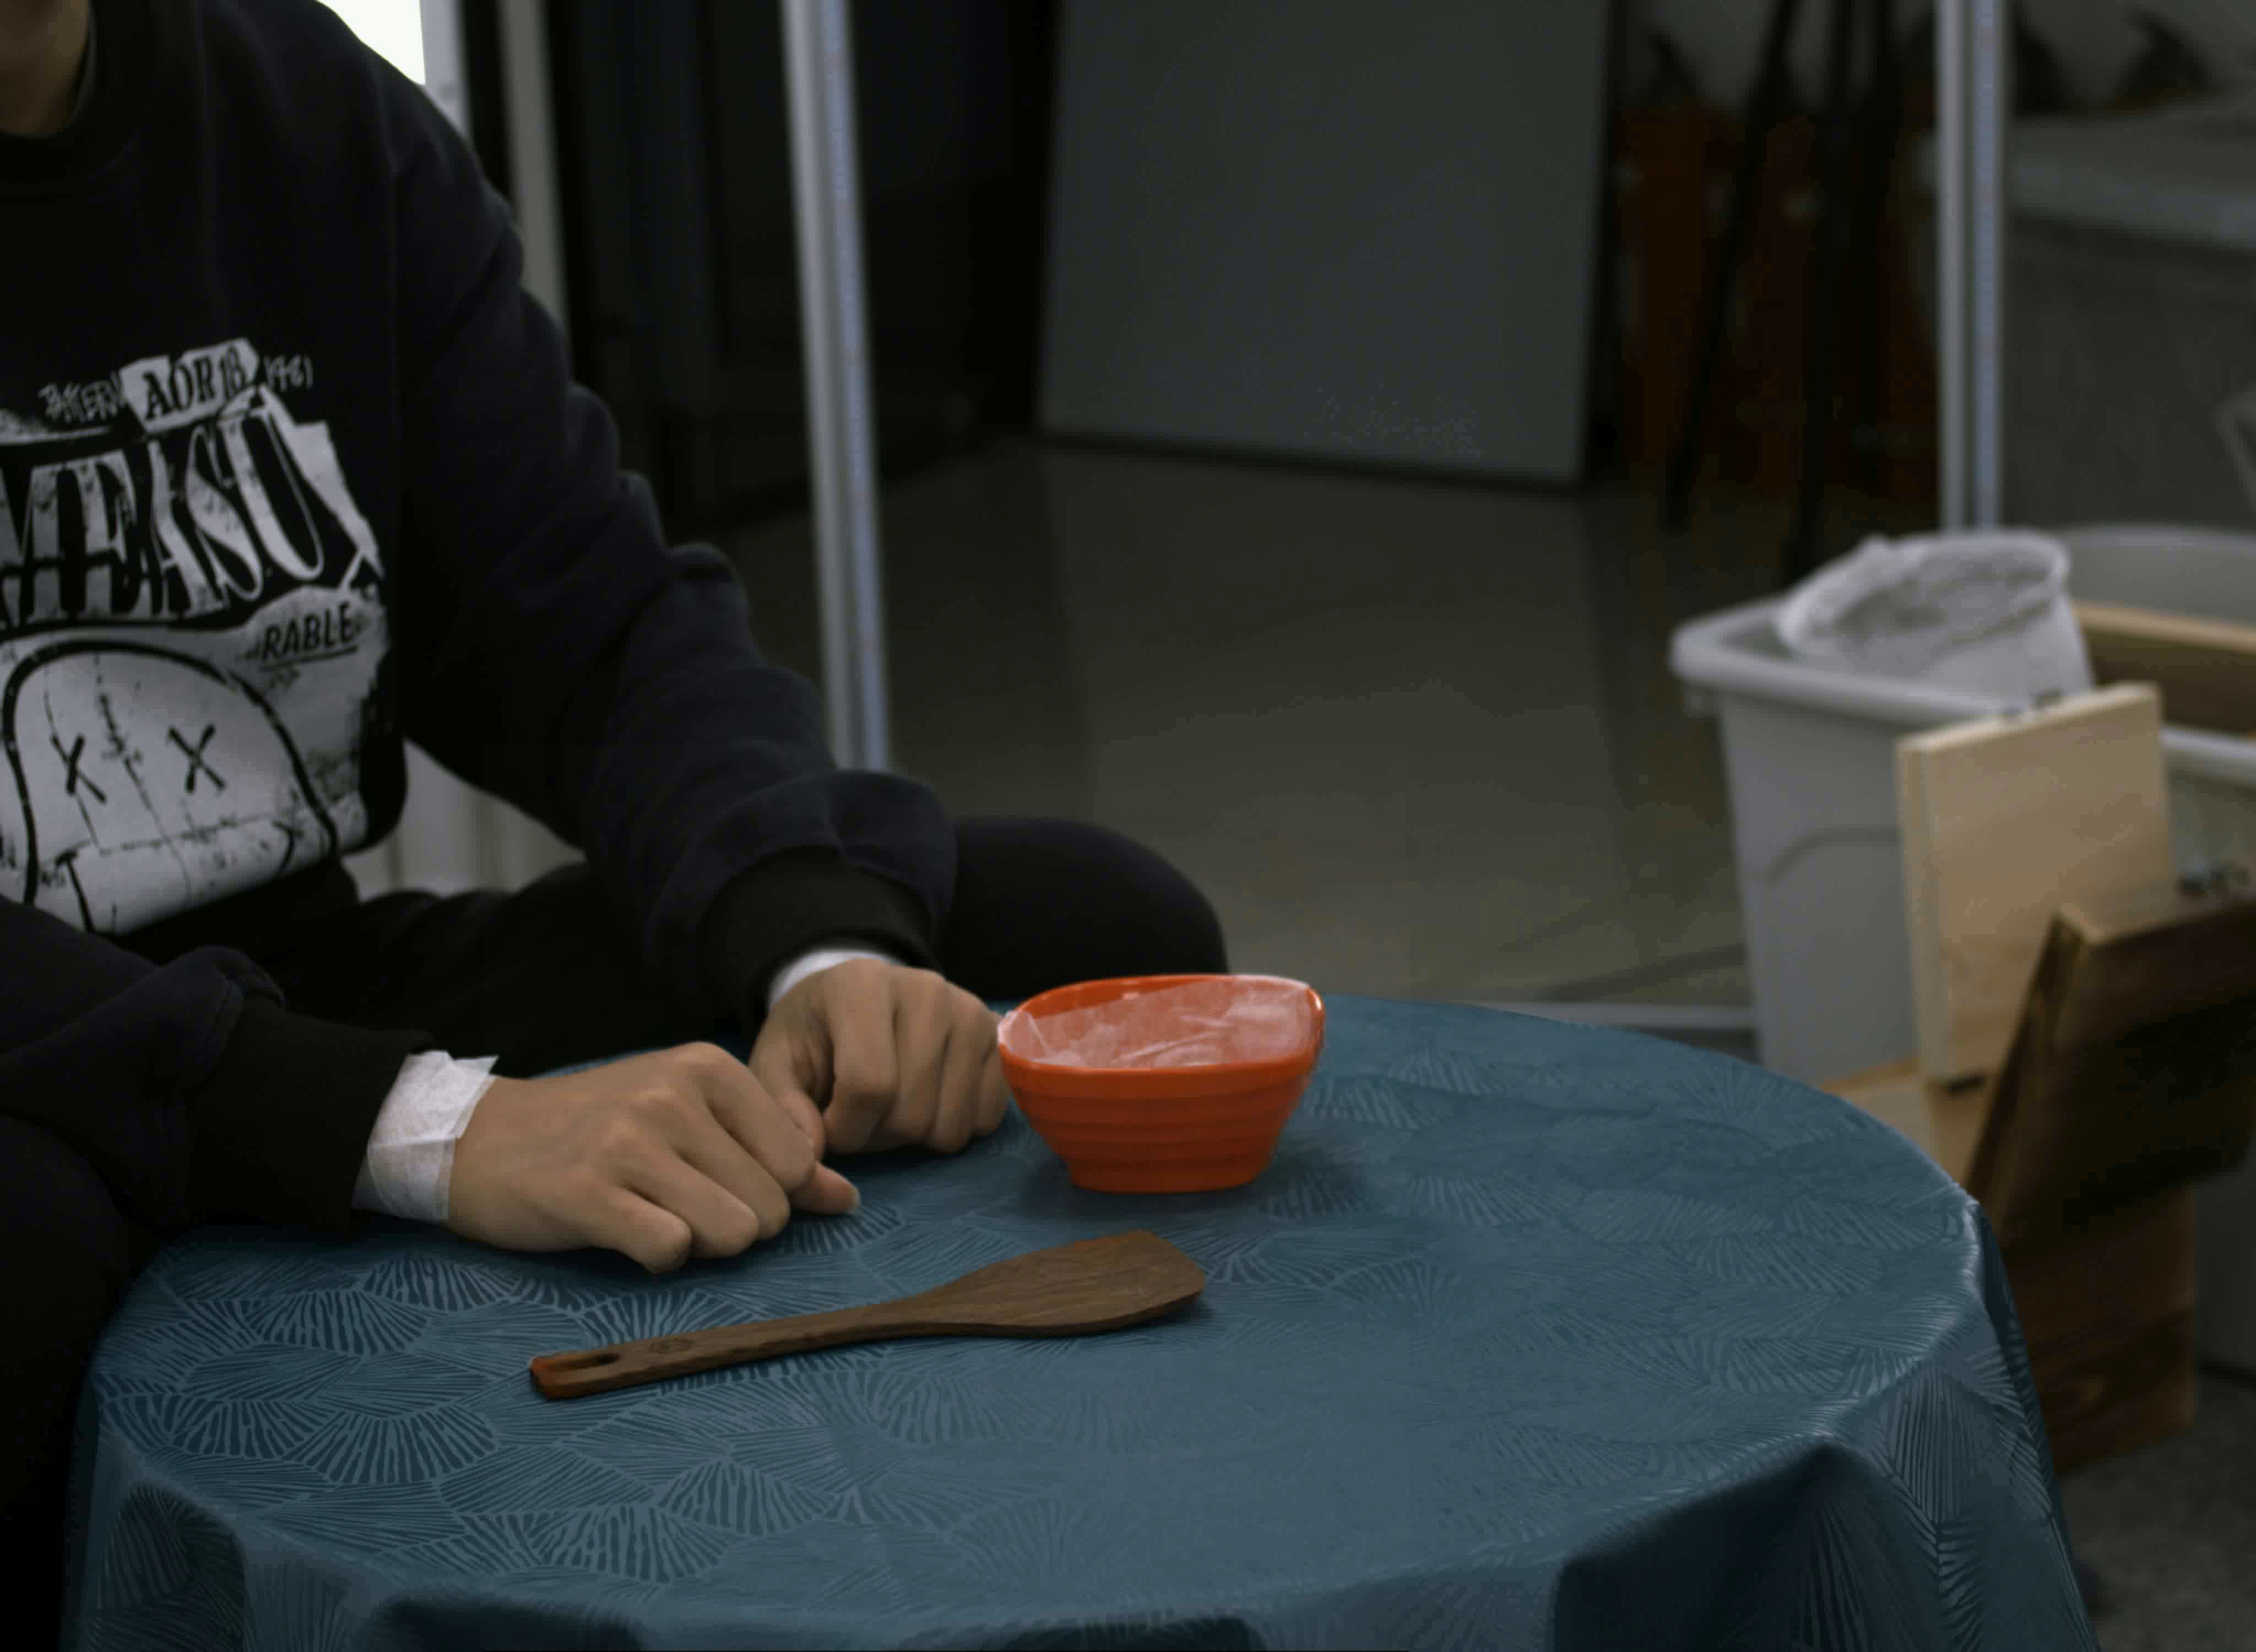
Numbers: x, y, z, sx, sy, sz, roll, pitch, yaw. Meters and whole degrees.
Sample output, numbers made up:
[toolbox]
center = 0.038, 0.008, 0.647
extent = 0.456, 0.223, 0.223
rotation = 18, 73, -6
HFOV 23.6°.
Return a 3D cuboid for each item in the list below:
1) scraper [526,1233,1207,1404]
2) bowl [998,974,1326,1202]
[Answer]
[scraper]
center = -0.080, 0.154, 1.648
extent = 0.207, 0.011, 0.076
rotation = -9, 13, -16
[bowl]
center = 0.013, 0.090, 1.792
extent = 0.117, 0.052, 0.119
rotation = -3, 16, 0
